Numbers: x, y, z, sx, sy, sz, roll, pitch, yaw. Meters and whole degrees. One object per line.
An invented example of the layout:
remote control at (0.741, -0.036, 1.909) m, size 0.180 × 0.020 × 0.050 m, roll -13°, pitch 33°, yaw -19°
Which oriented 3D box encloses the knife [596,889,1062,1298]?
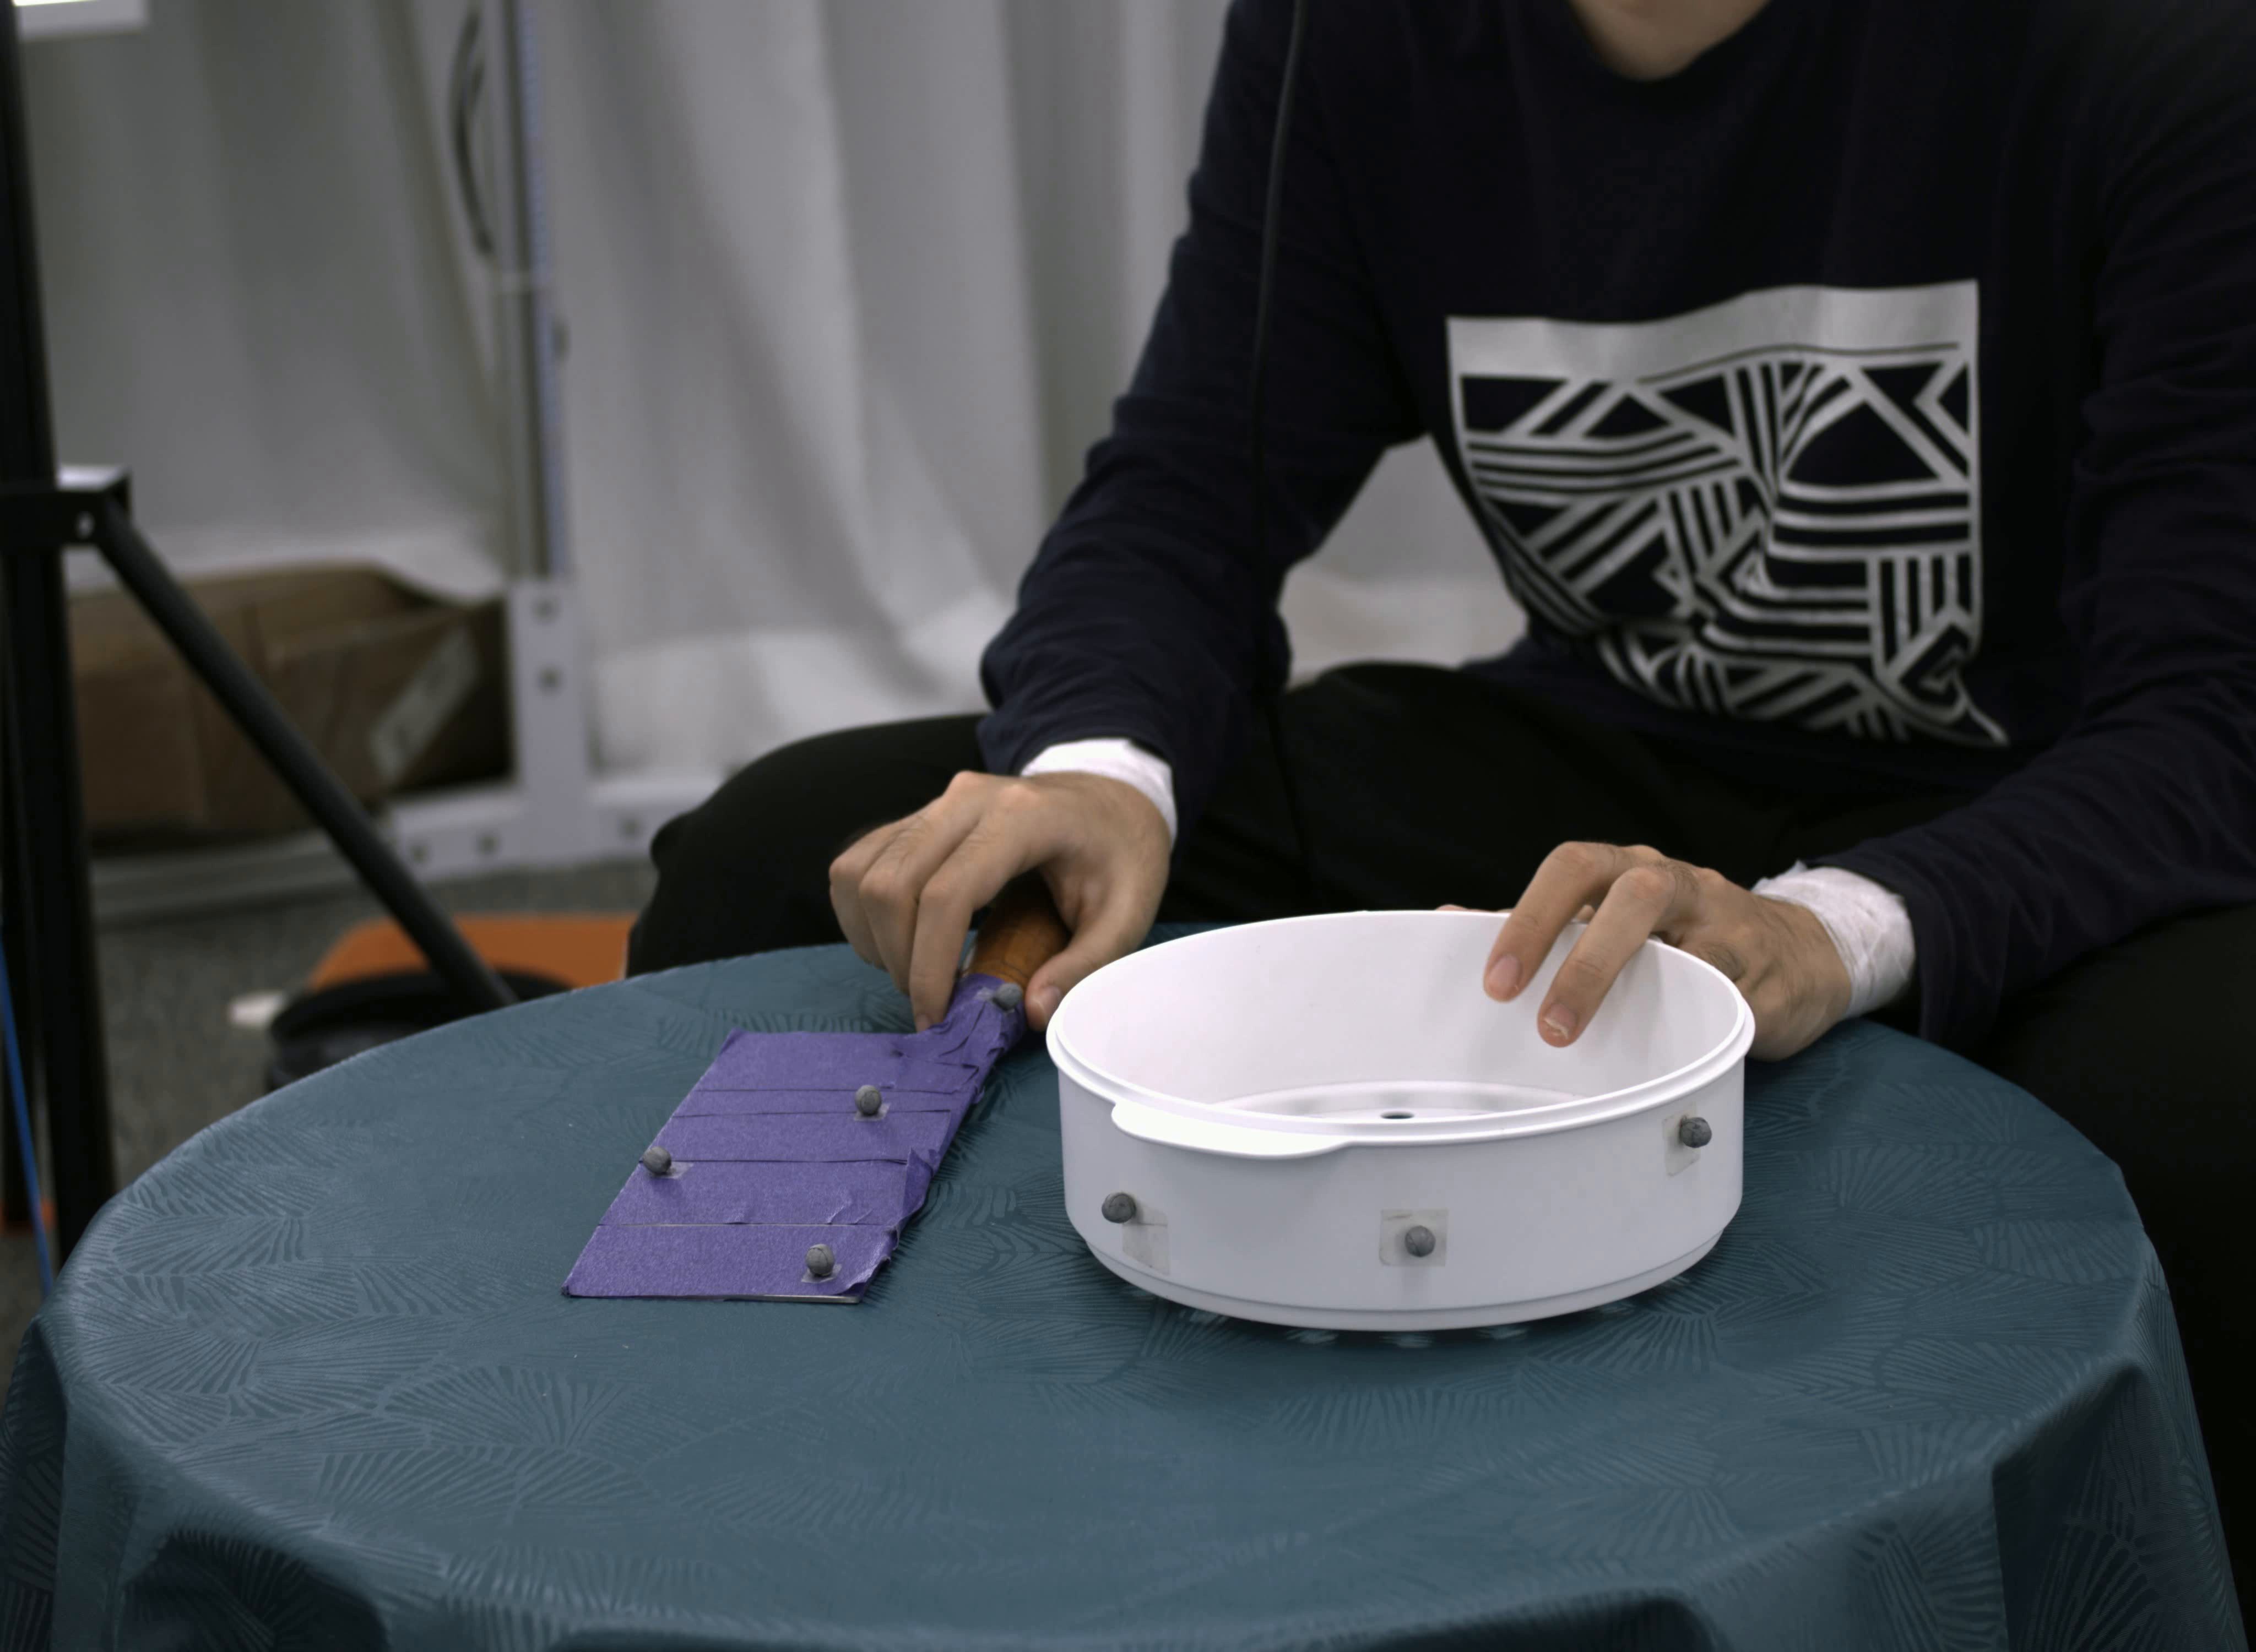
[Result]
knife at (-0.089, 0.079, 1.631) m, size 0.104 × 0.032 × 0.314 m, roll 1°, pitch 17°, yaw 10°

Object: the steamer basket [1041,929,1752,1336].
steamer basket at (0.075, 0.087, 1.507) m, size 0.206 × 0.069 × 0.226 m, roll 9°, pitch 16°, yaw 32°
